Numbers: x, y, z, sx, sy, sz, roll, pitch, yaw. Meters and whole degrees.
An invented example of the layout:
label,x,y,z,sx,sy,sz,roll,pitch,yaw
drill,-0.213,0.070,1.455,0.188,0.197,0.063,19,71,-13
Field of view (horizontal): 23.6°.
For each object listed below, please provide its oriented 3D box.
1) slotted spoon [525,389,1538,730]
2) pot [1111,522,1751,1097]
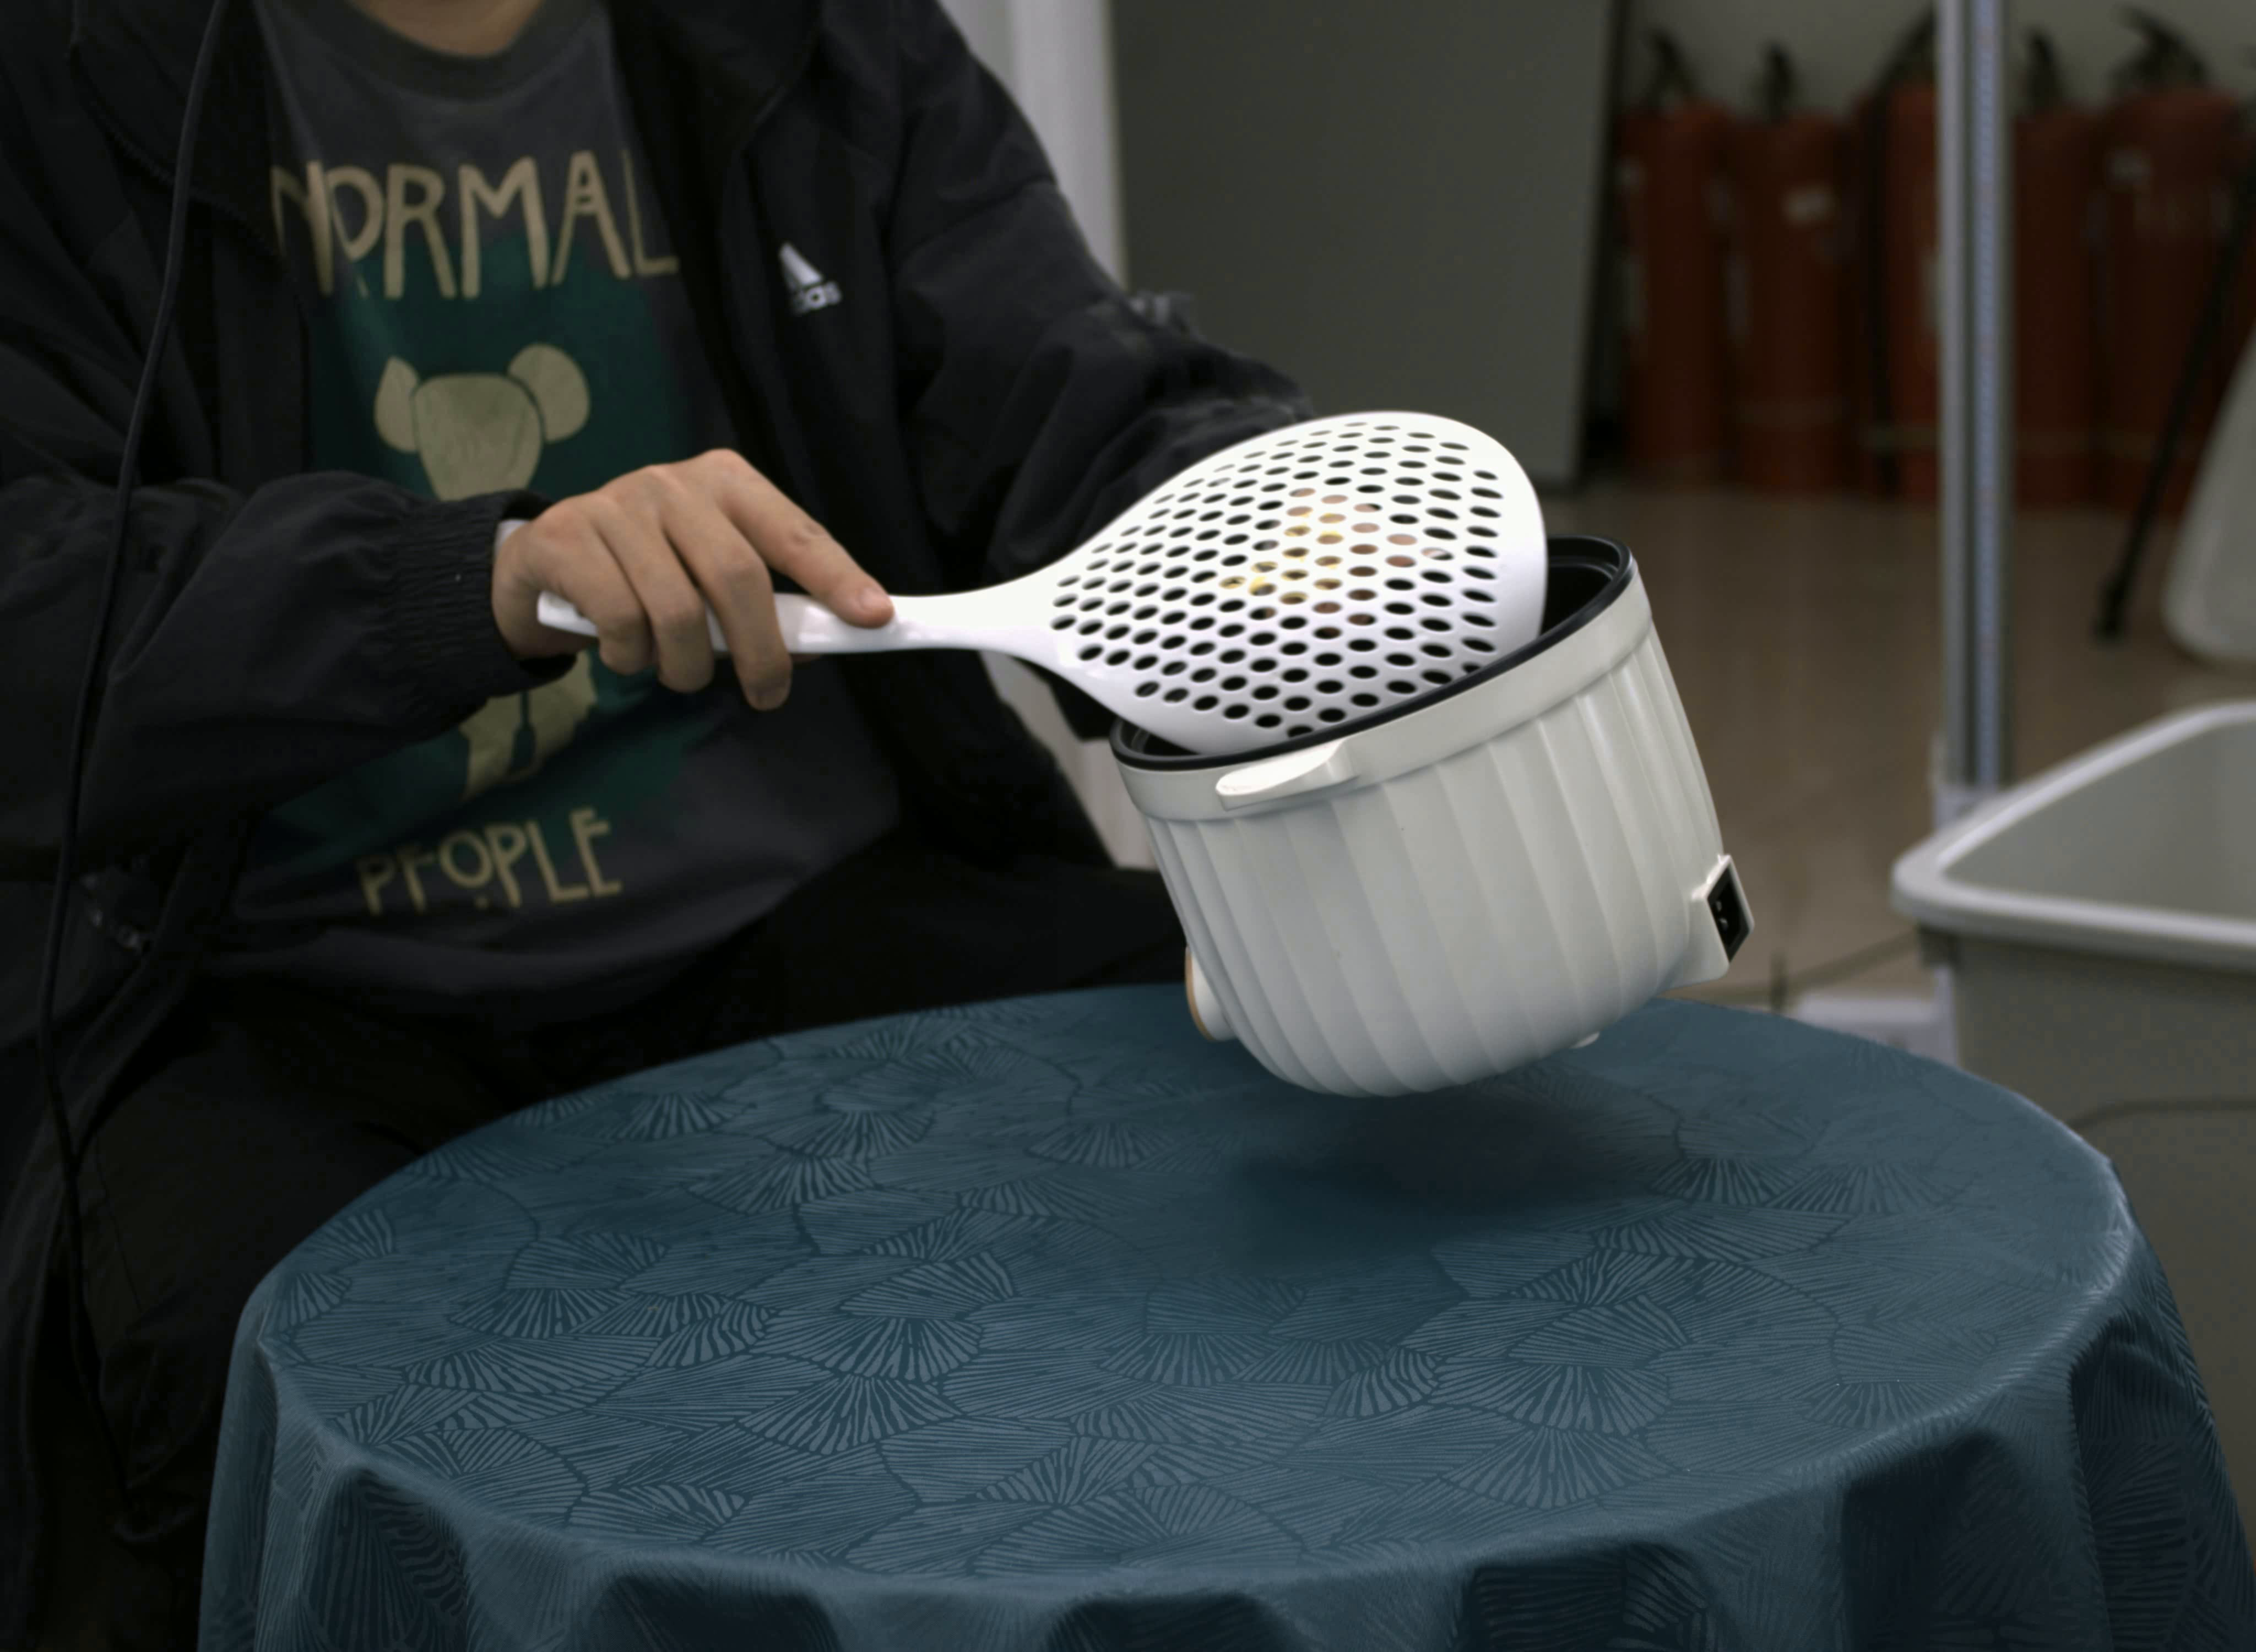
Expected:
label,x,y,z,sx,sy,sz,roll,pitch,yaw
slotted spoon,-0.036,-0.079,1.785,0.348,0.138,0.050,-4,-21,22
pot,0.095,0.001,1.755,0.191,0.143,0.238,-11,16,25
